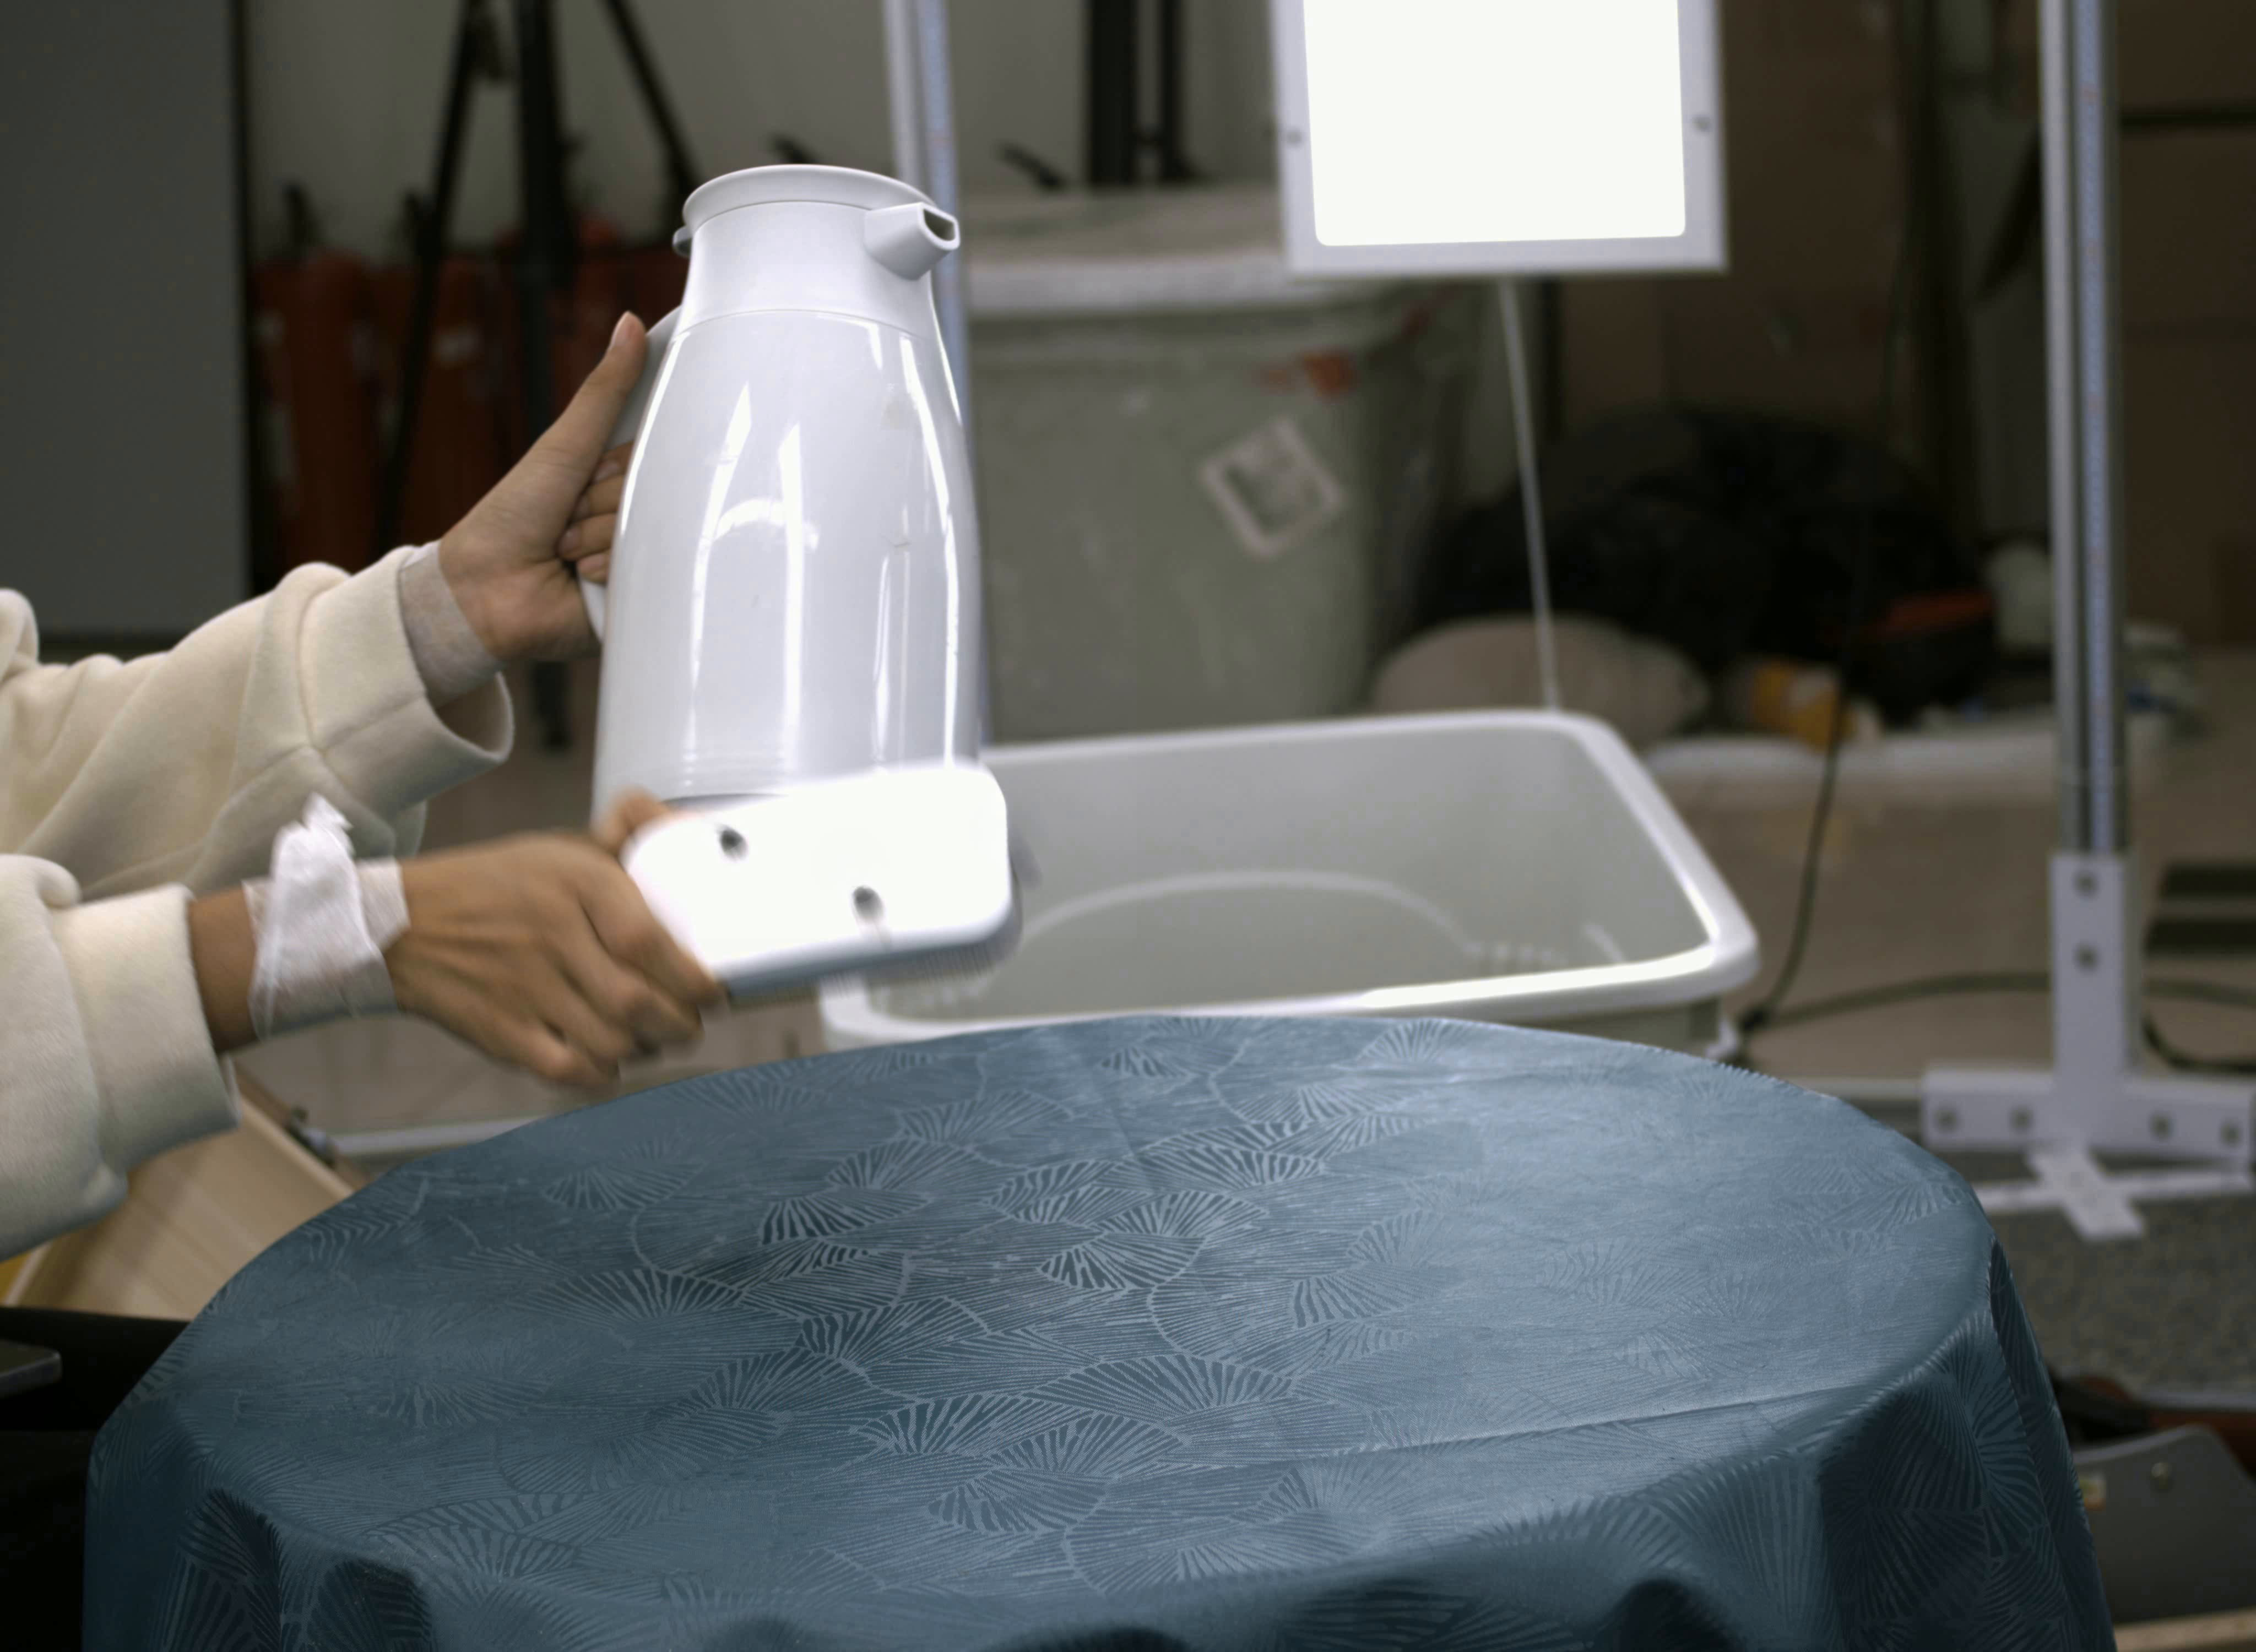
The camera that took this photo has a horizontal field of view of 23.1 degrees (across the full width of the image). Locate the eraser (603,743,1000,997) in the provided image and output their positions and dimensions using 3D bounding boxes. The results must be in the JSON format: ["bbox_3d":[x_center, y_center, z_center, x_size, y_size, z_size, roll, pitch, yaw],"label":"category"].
[{"bbox_3d":[-0.104,0.013,1.755,0.133,0.034,0.063,-12,54,16],"label":"eraser"}]

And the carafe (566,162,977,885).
[{"bbox_3d":[-0.131,-0.100,1.912,0.171,0.248,0.129,-13,-23,39],"label":"carafe"}]
